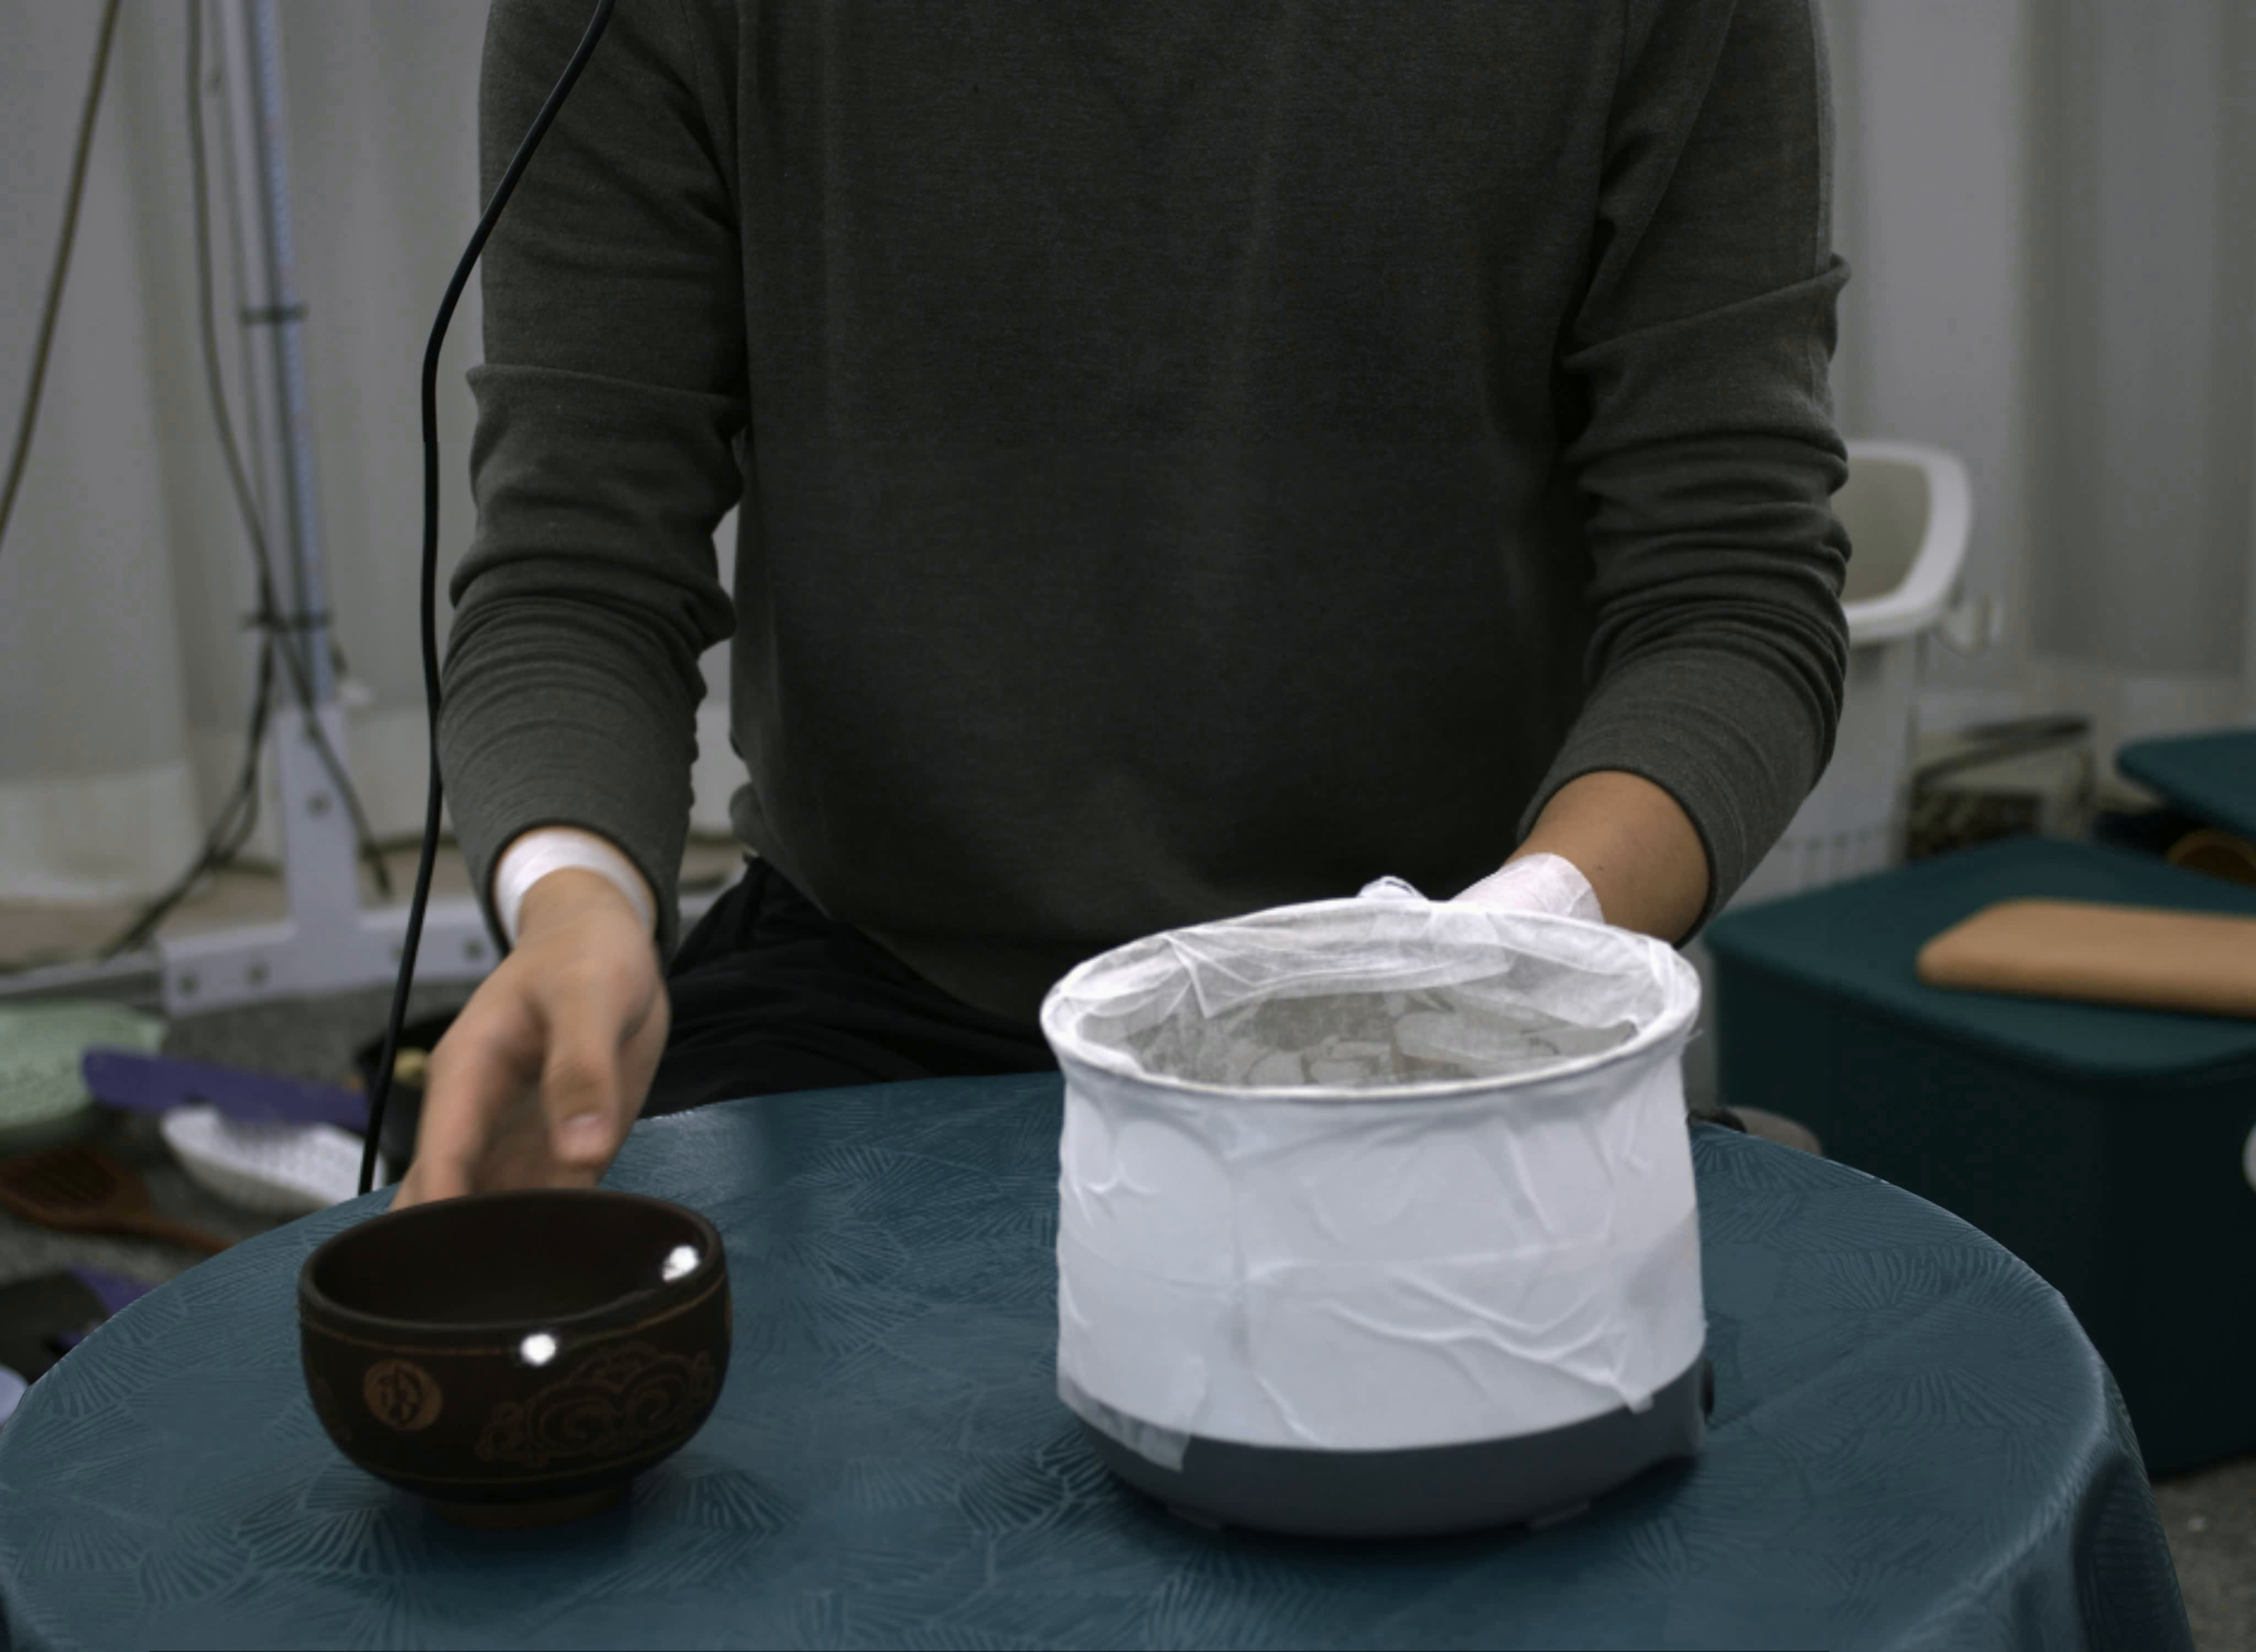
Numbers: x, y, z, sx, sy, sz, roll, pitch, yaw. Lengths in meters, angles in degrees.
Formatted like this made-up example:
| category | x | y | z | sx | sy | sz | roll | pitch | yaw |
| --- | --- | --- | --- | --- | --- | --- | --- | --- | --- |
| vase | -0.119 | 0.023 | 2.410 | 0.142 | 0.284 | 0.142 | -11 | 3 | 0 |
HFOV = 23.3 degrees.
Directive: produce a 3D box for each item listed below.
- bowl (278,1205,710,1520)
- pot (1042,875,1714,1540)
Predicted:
| category | x | y | z | sx | sy | sz | roll | pitch | yaw |
| --- | --- | --- | --- | --- | --- | --- | --- | --- | --- |
| bowl | -0.172 | 0.149 | 1.497 | 0.117 | 0.070 | 0.118 | -2 | 7 | 0 |
| pot | 0.070 | 0.098 | 1.499 | 0.178 | 0.136 | 0.235 | -1 | 14 | 5 |
